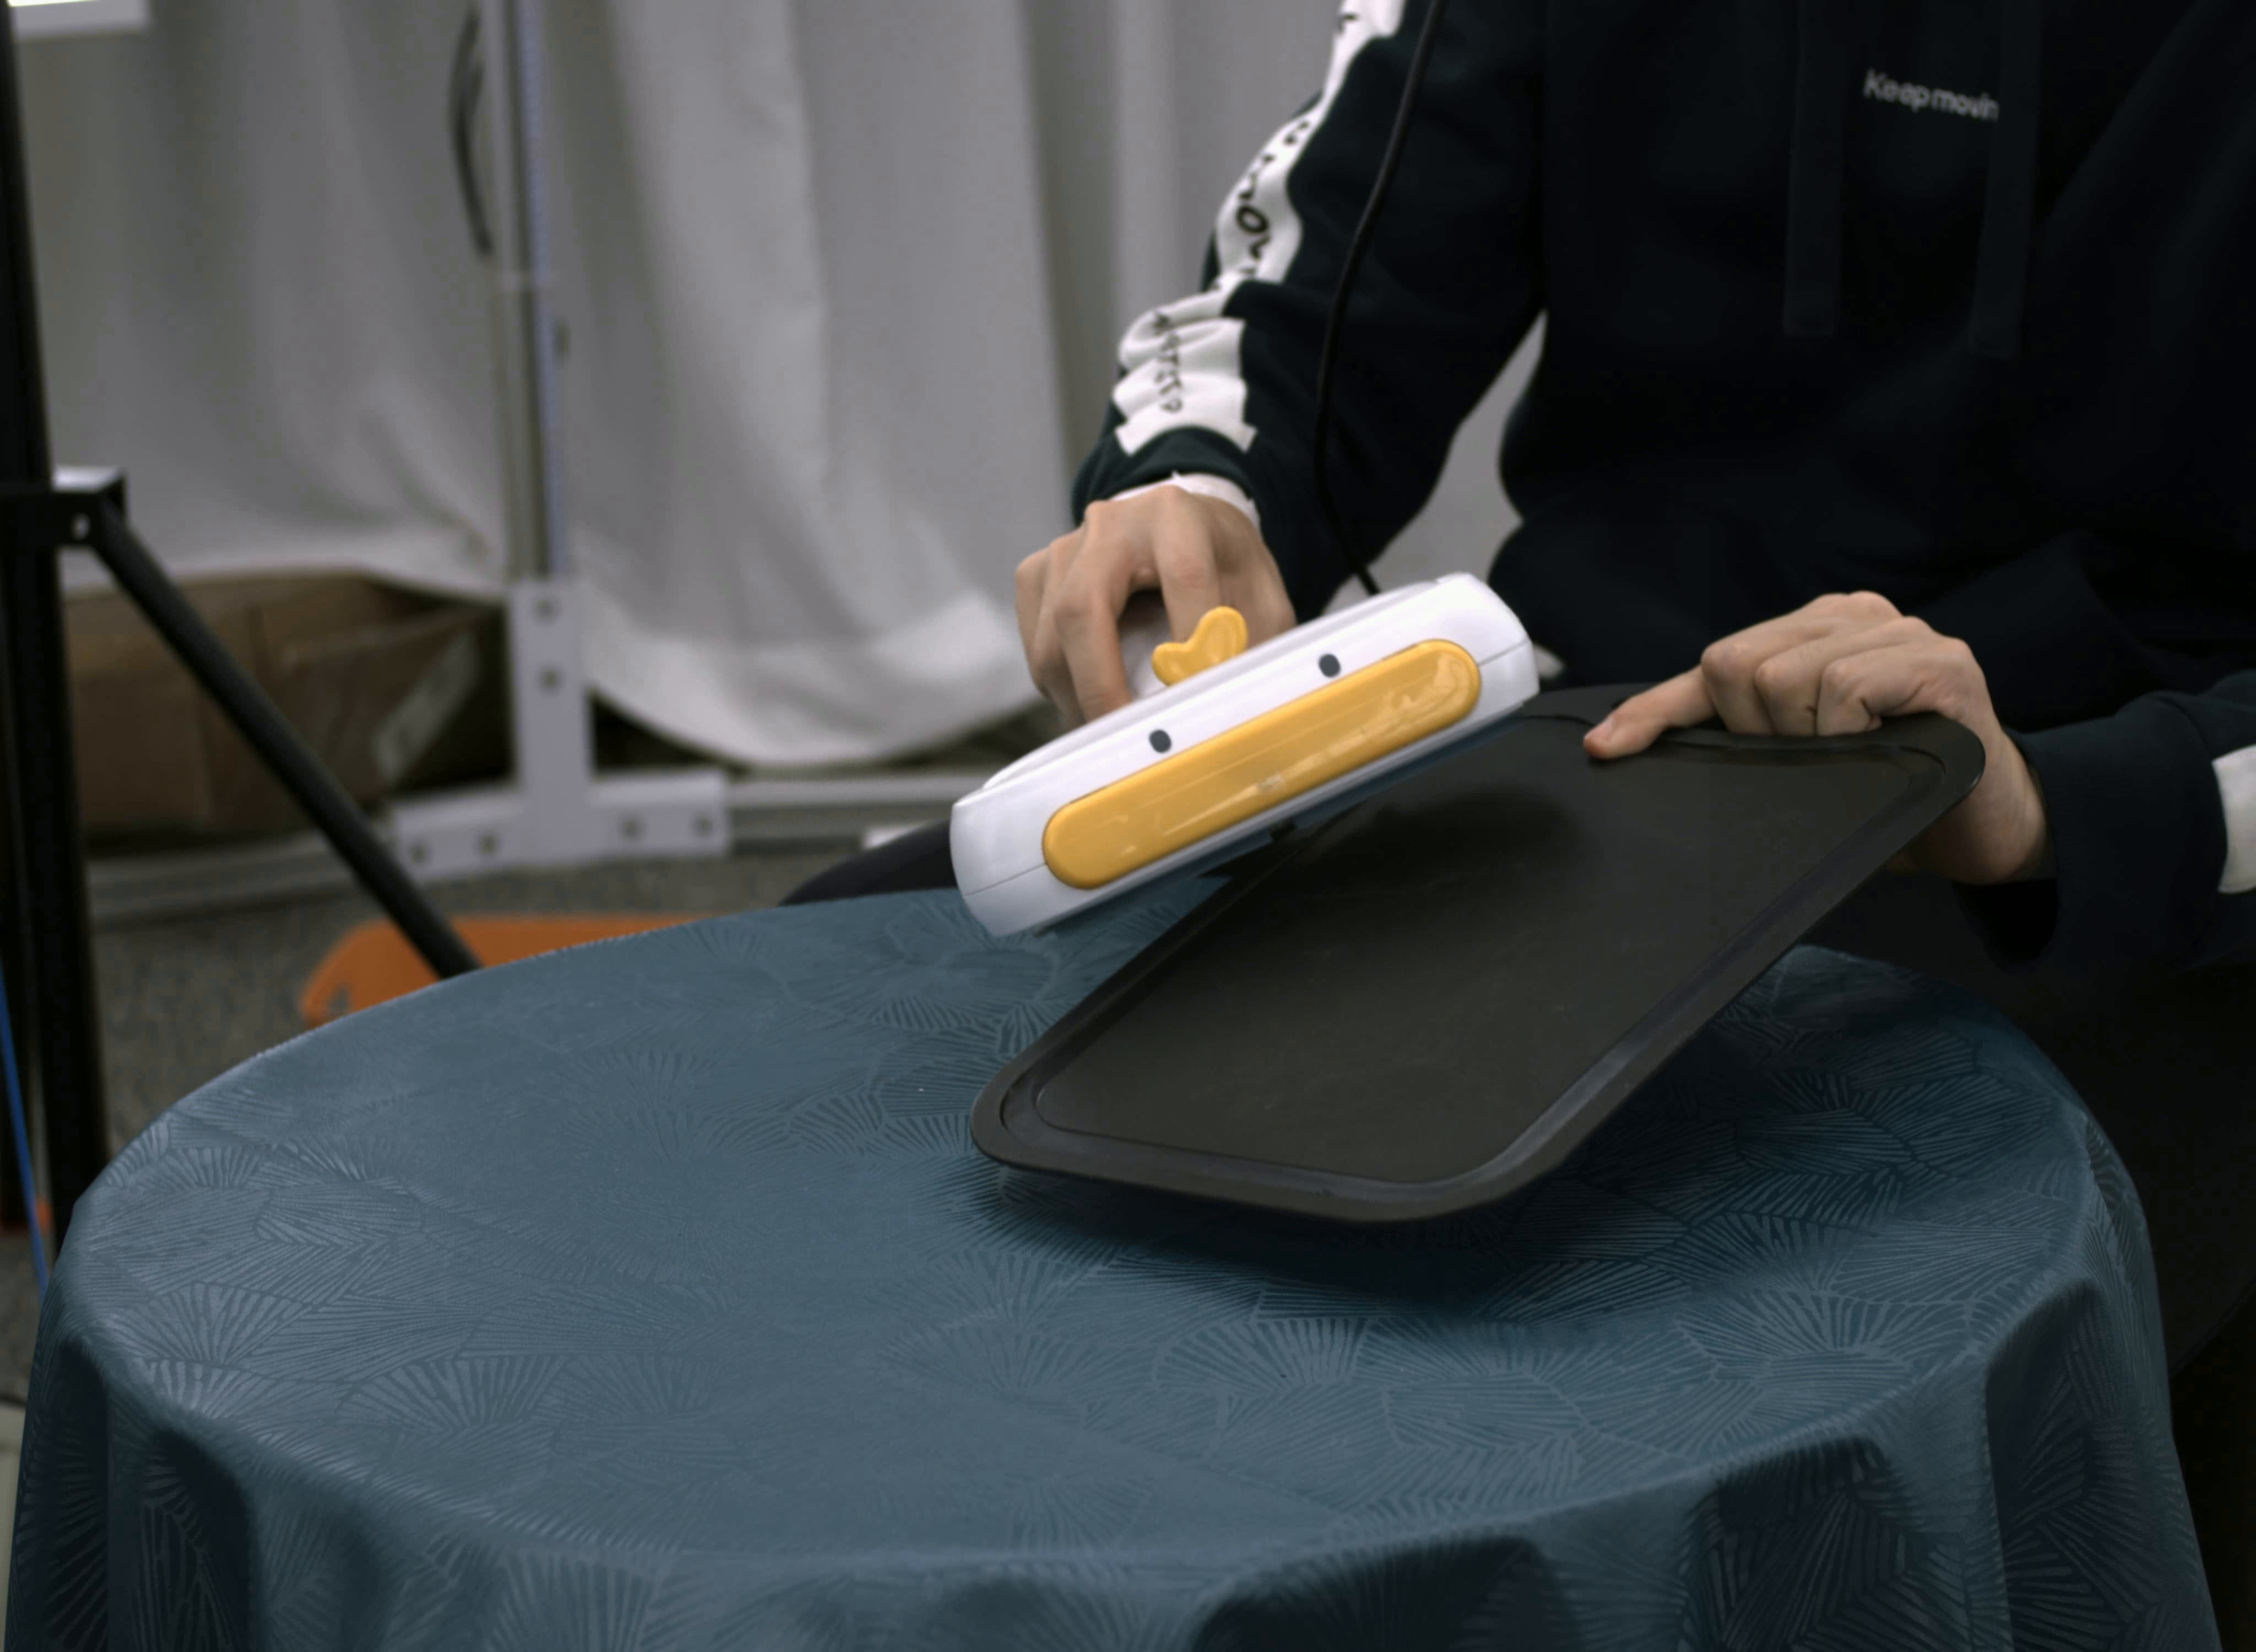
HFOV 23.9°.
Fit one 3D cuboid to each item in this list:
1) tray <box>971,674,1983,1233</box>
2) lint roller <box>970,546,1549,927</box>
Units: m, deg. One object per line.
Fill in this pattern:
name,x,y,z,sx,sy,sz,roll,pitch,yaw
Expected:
tray,0.111,0.028,1.591,0.216,0.010,0.320,7,33,42
lint roller,0.022,-0.037,1.701,0.191,0.074,0.194,-30,11,-9
